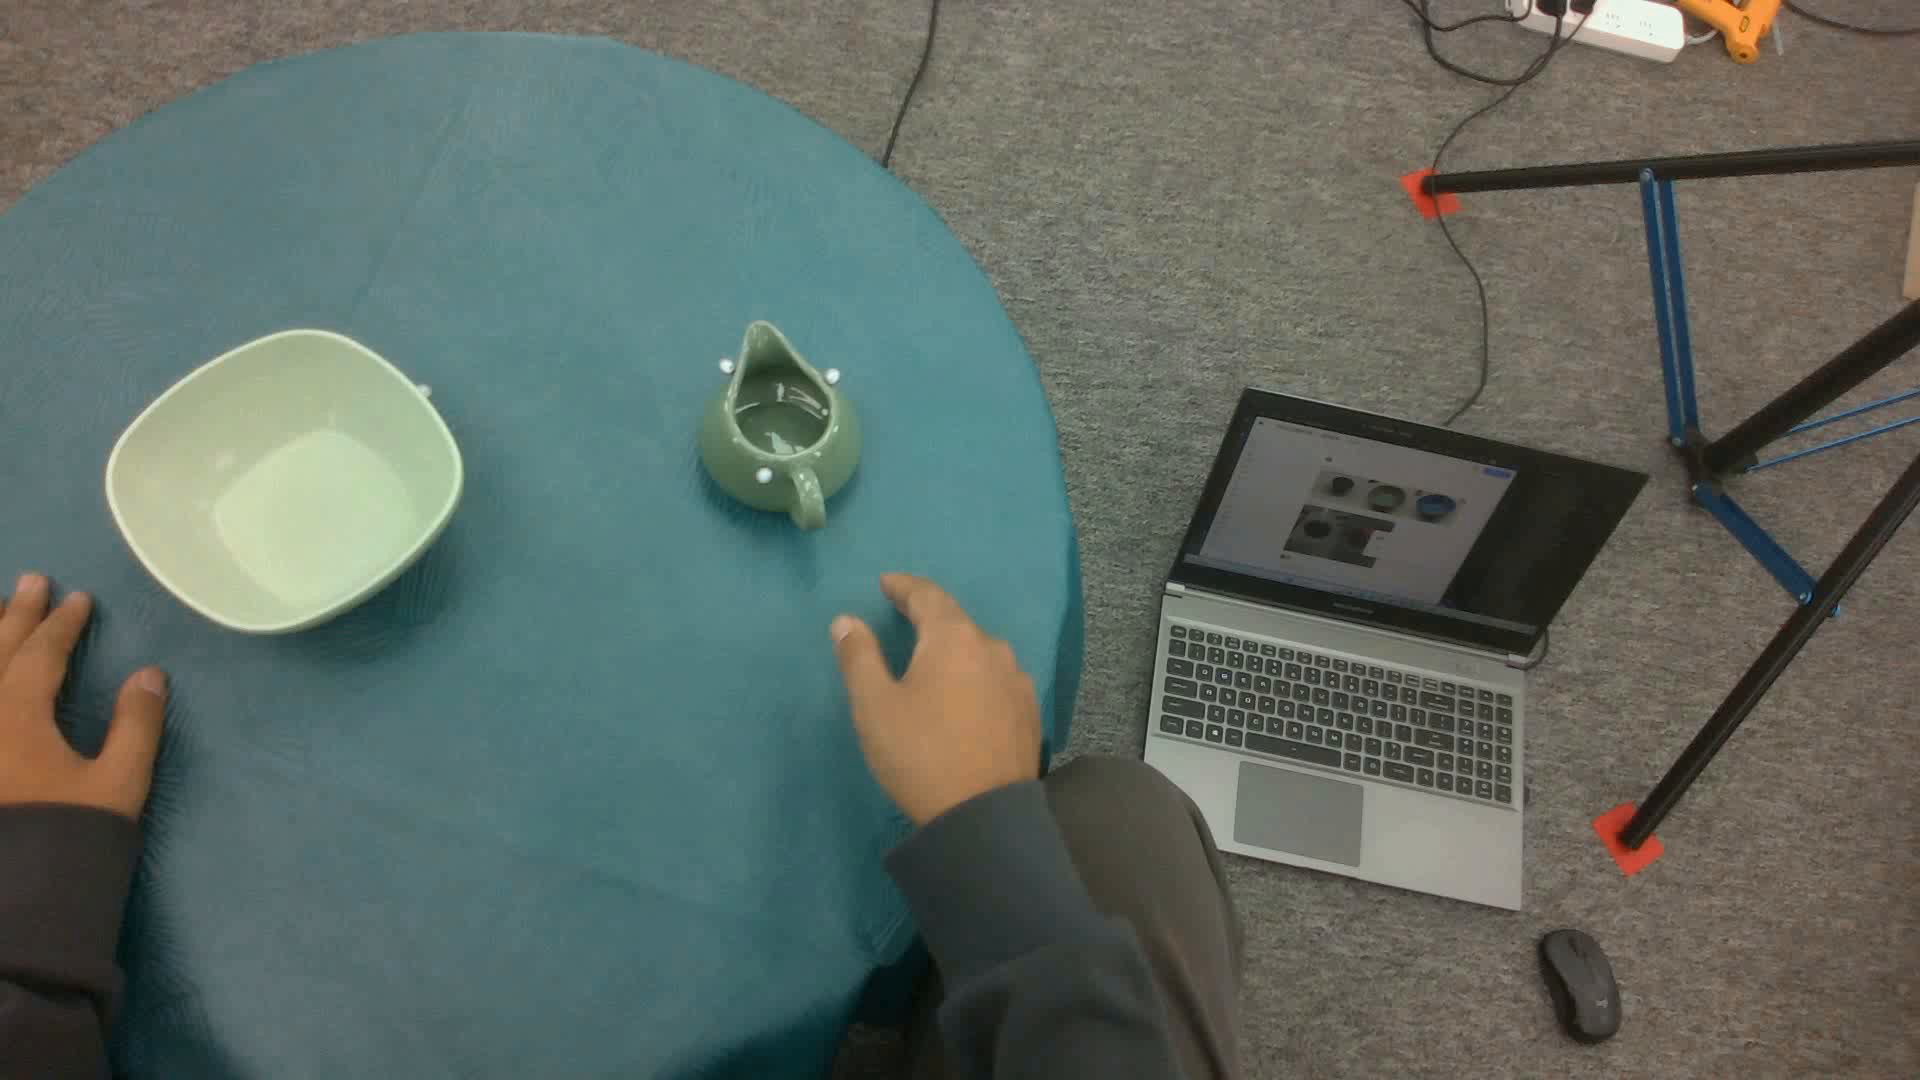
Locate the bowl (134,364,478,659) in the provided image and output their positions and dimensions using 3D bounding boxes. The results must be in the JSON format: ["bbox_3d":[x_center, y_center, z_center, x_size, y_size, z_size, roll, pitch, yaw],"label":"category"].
[{"bbox_3d":[-0.307,-0.006,0.666,0.151,0.058,0.152,3,65,-7],"label":"bowl"}]

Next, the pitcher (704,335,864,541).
[{"bbox_3d":[-0.089,-0.046,0.717,0.084,0.056,0.113,-17,72,-14],"label":"pitcher"}]
